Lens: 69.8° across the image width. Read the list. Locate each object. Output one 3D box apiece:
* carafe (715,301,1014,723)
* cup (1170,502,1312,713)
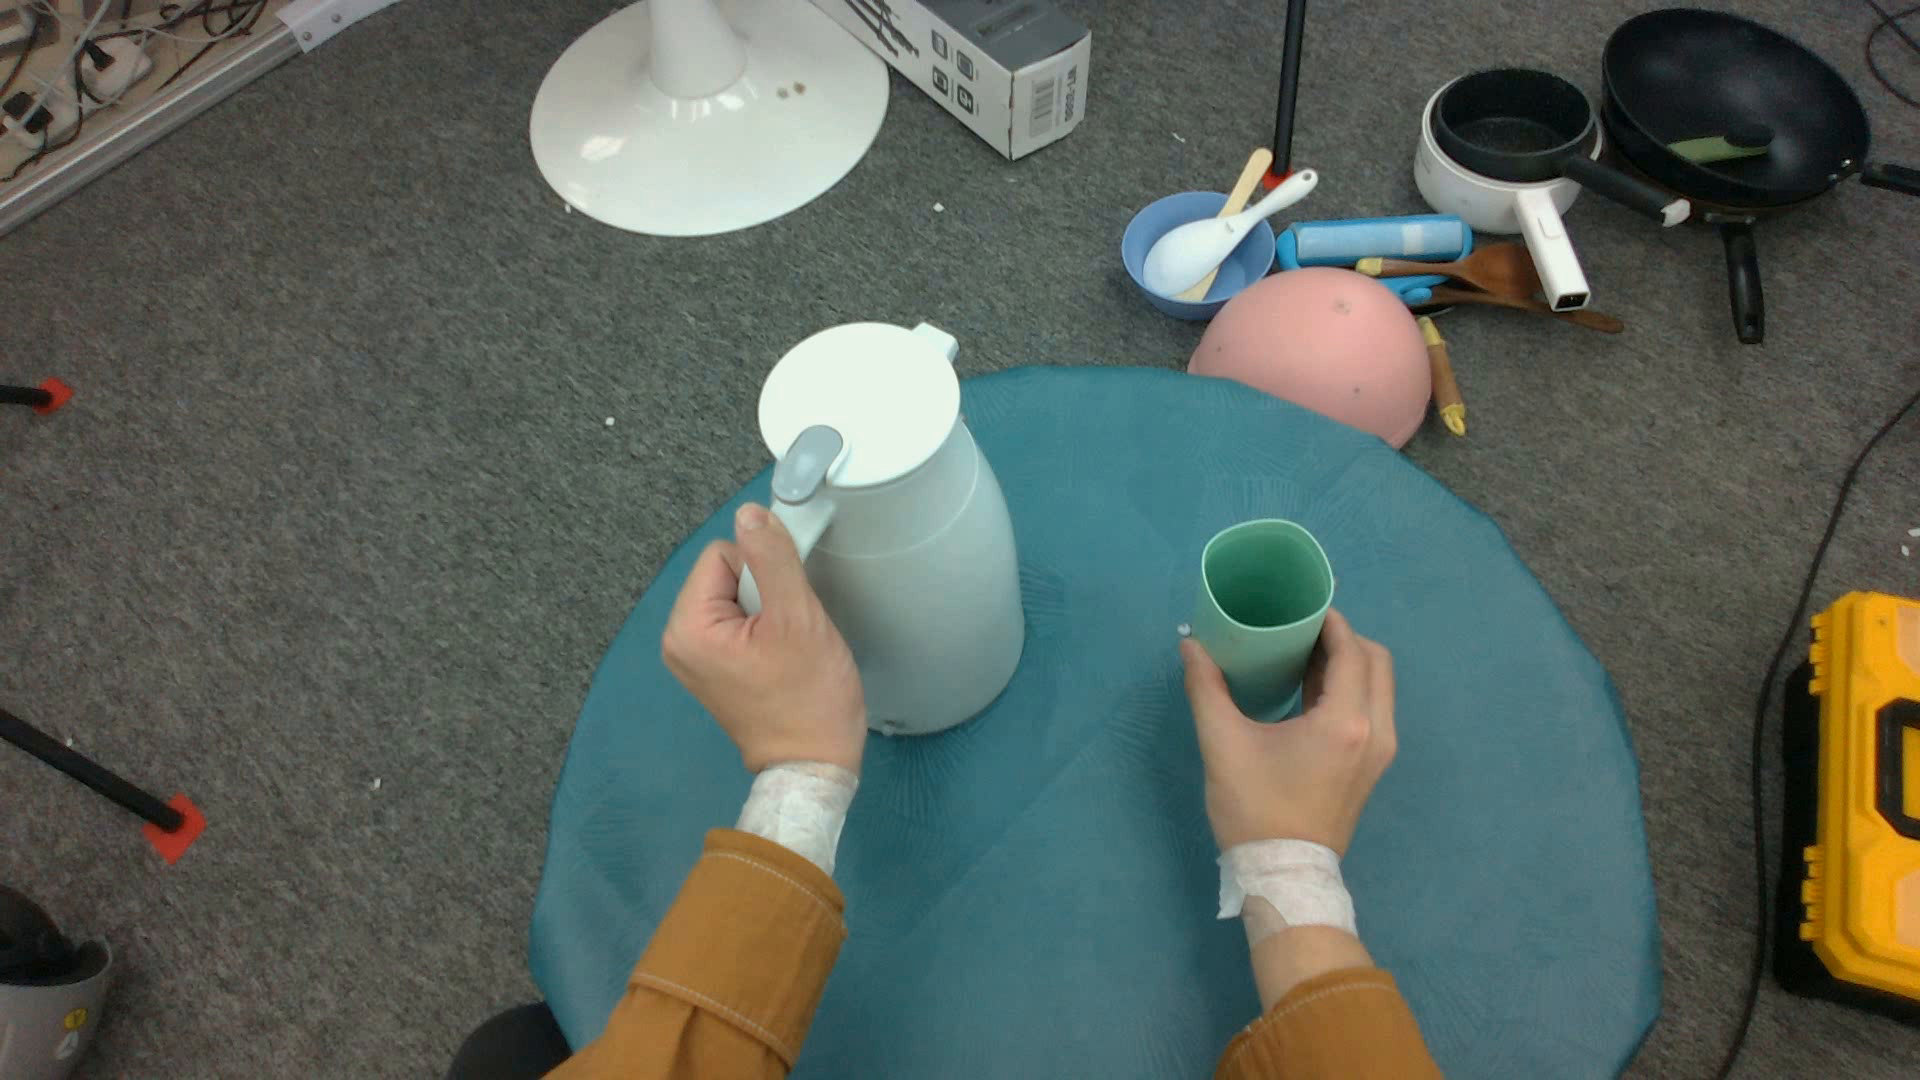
[{"bbox_3d":[-0.055,0.001,0.710,0.132,0.247,0.168,28,67,20],"label":"carafe"},{"bbox_3d":[0.149,0.041,0.743,0.067,0.132,0.067,-2,60,3],"label":"cup"}]
